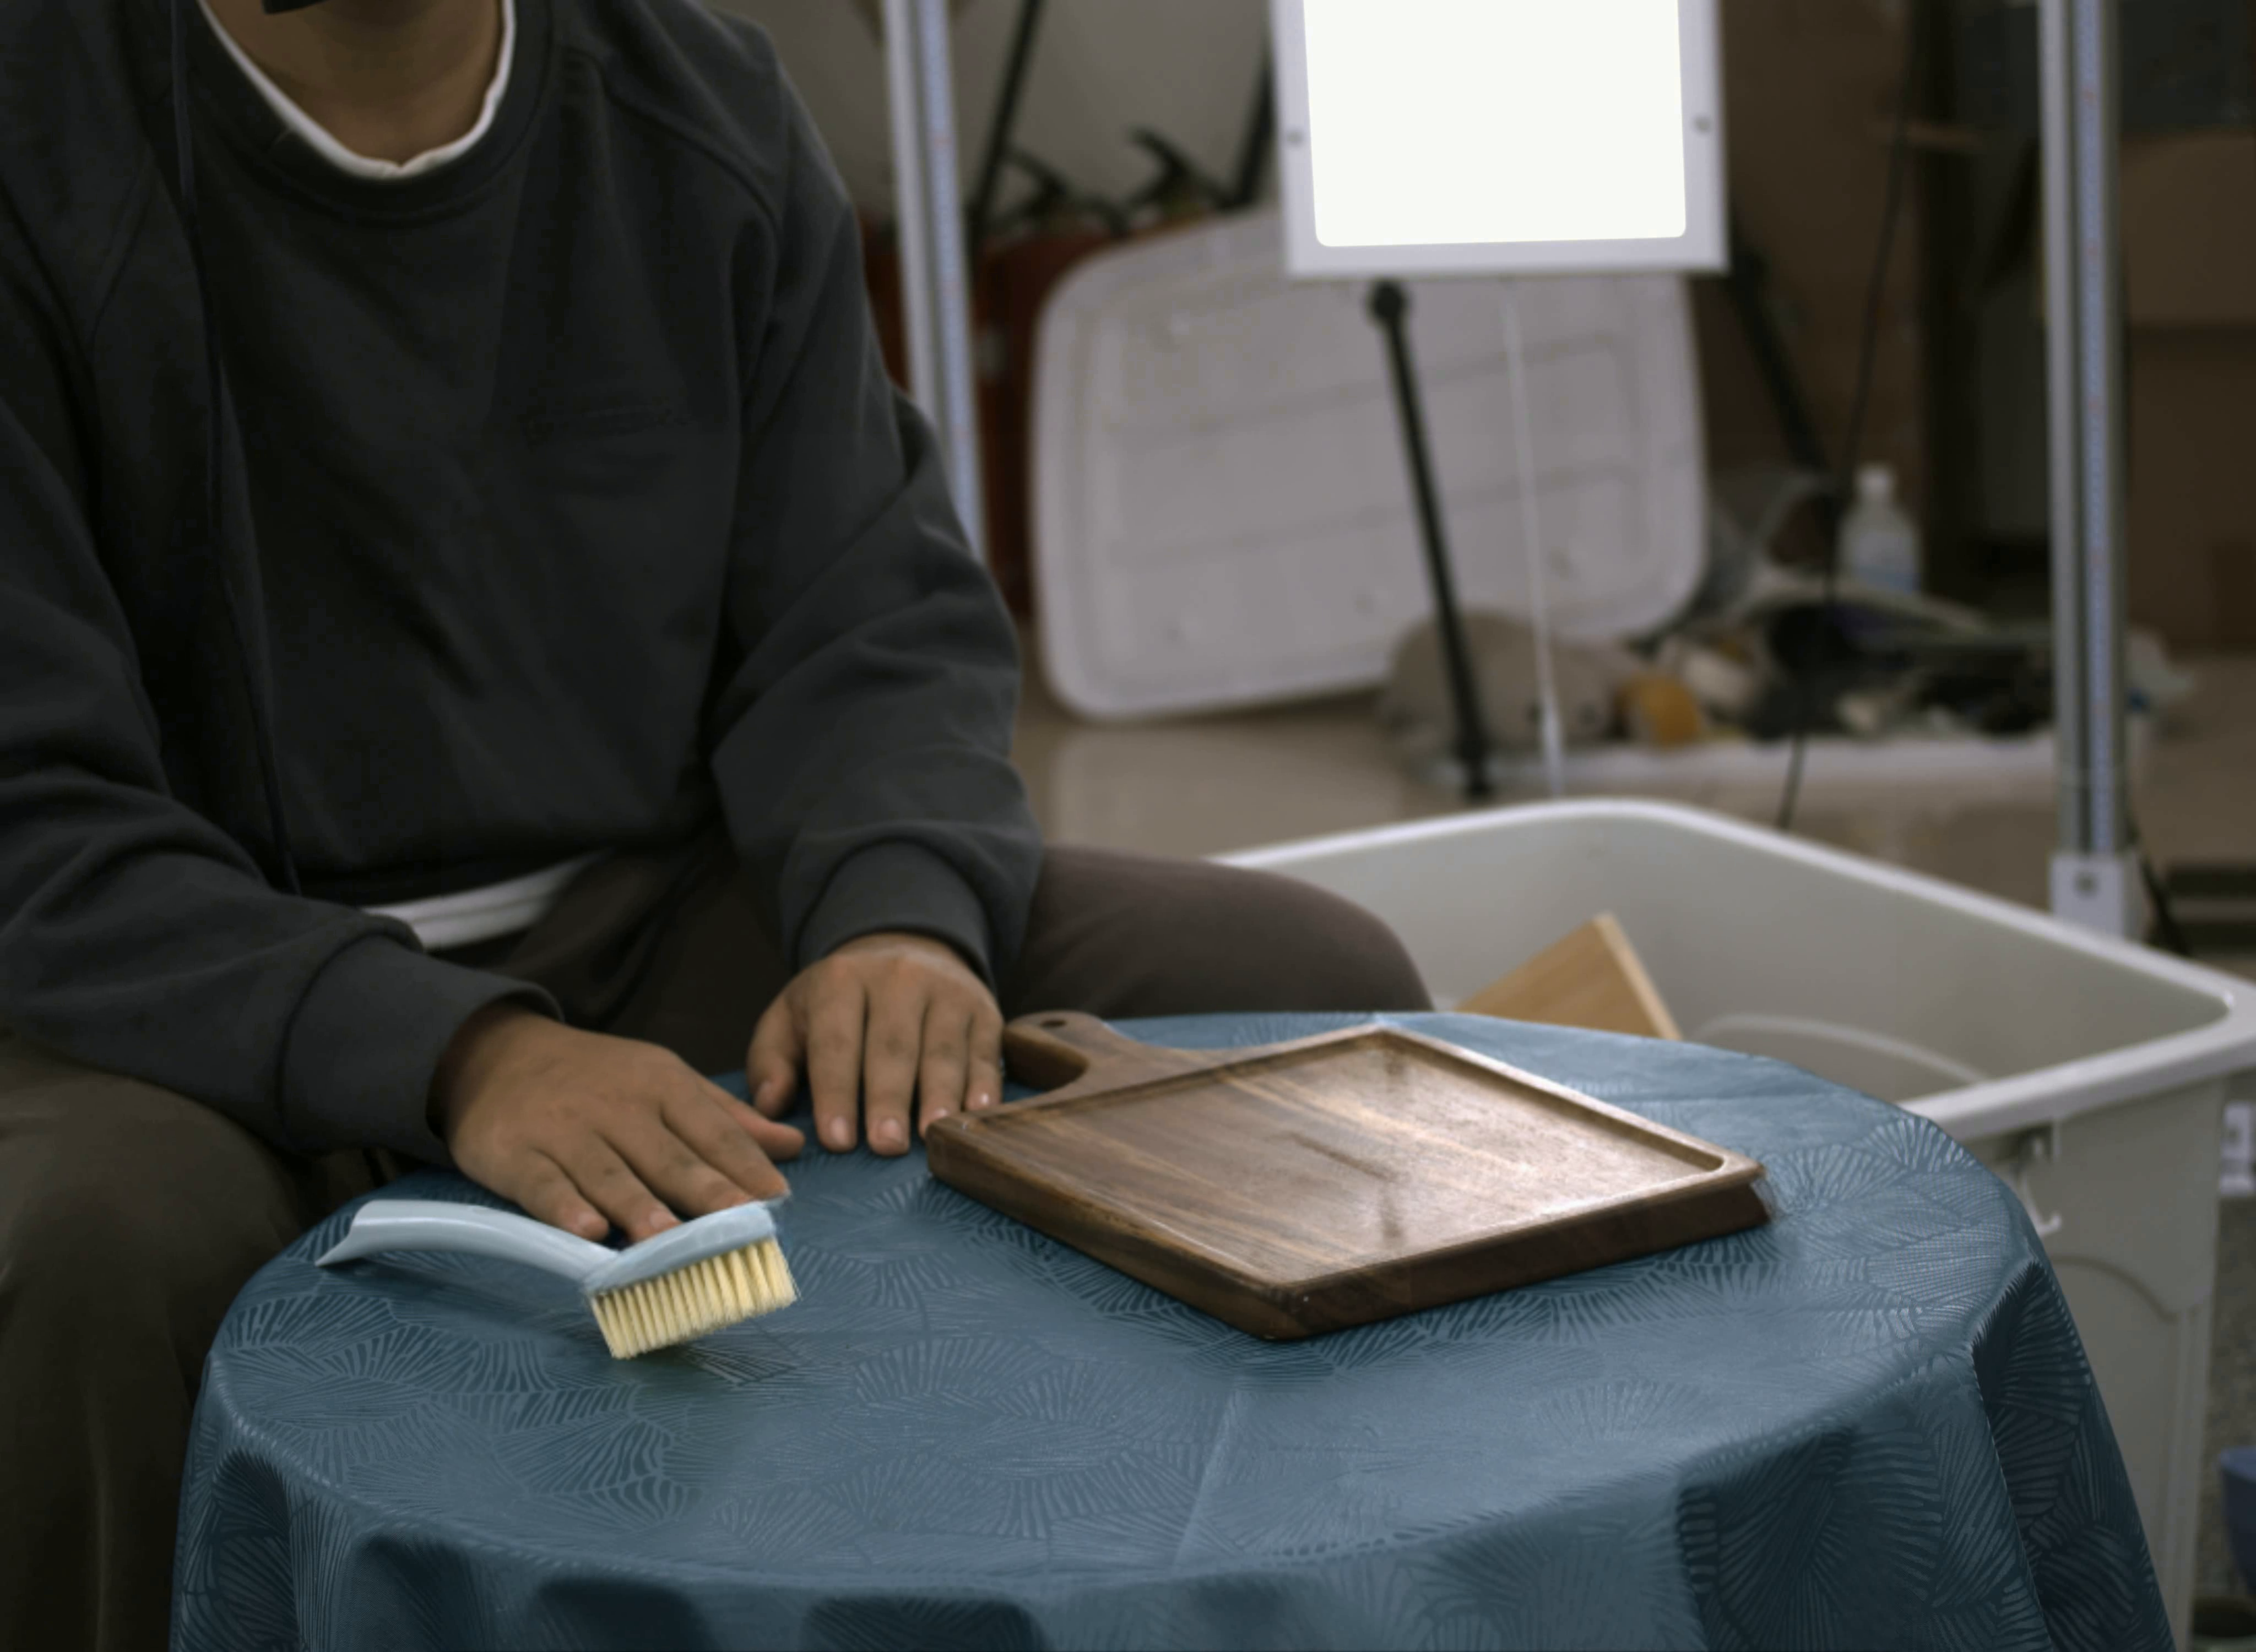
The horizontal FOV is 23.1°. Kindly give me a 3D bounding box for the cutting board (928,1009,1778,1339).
[{"bbox_3d":[0.049,0.108,1.916,0.197,0.023,0.358,-11,15,-26],"label":"cutting board"}]

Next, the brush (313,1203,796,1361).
[{"bbox_3d":[-0.192,0.148,1.813,0.234,0.050,0.037,-3,4,45],"label":"brush"}]
